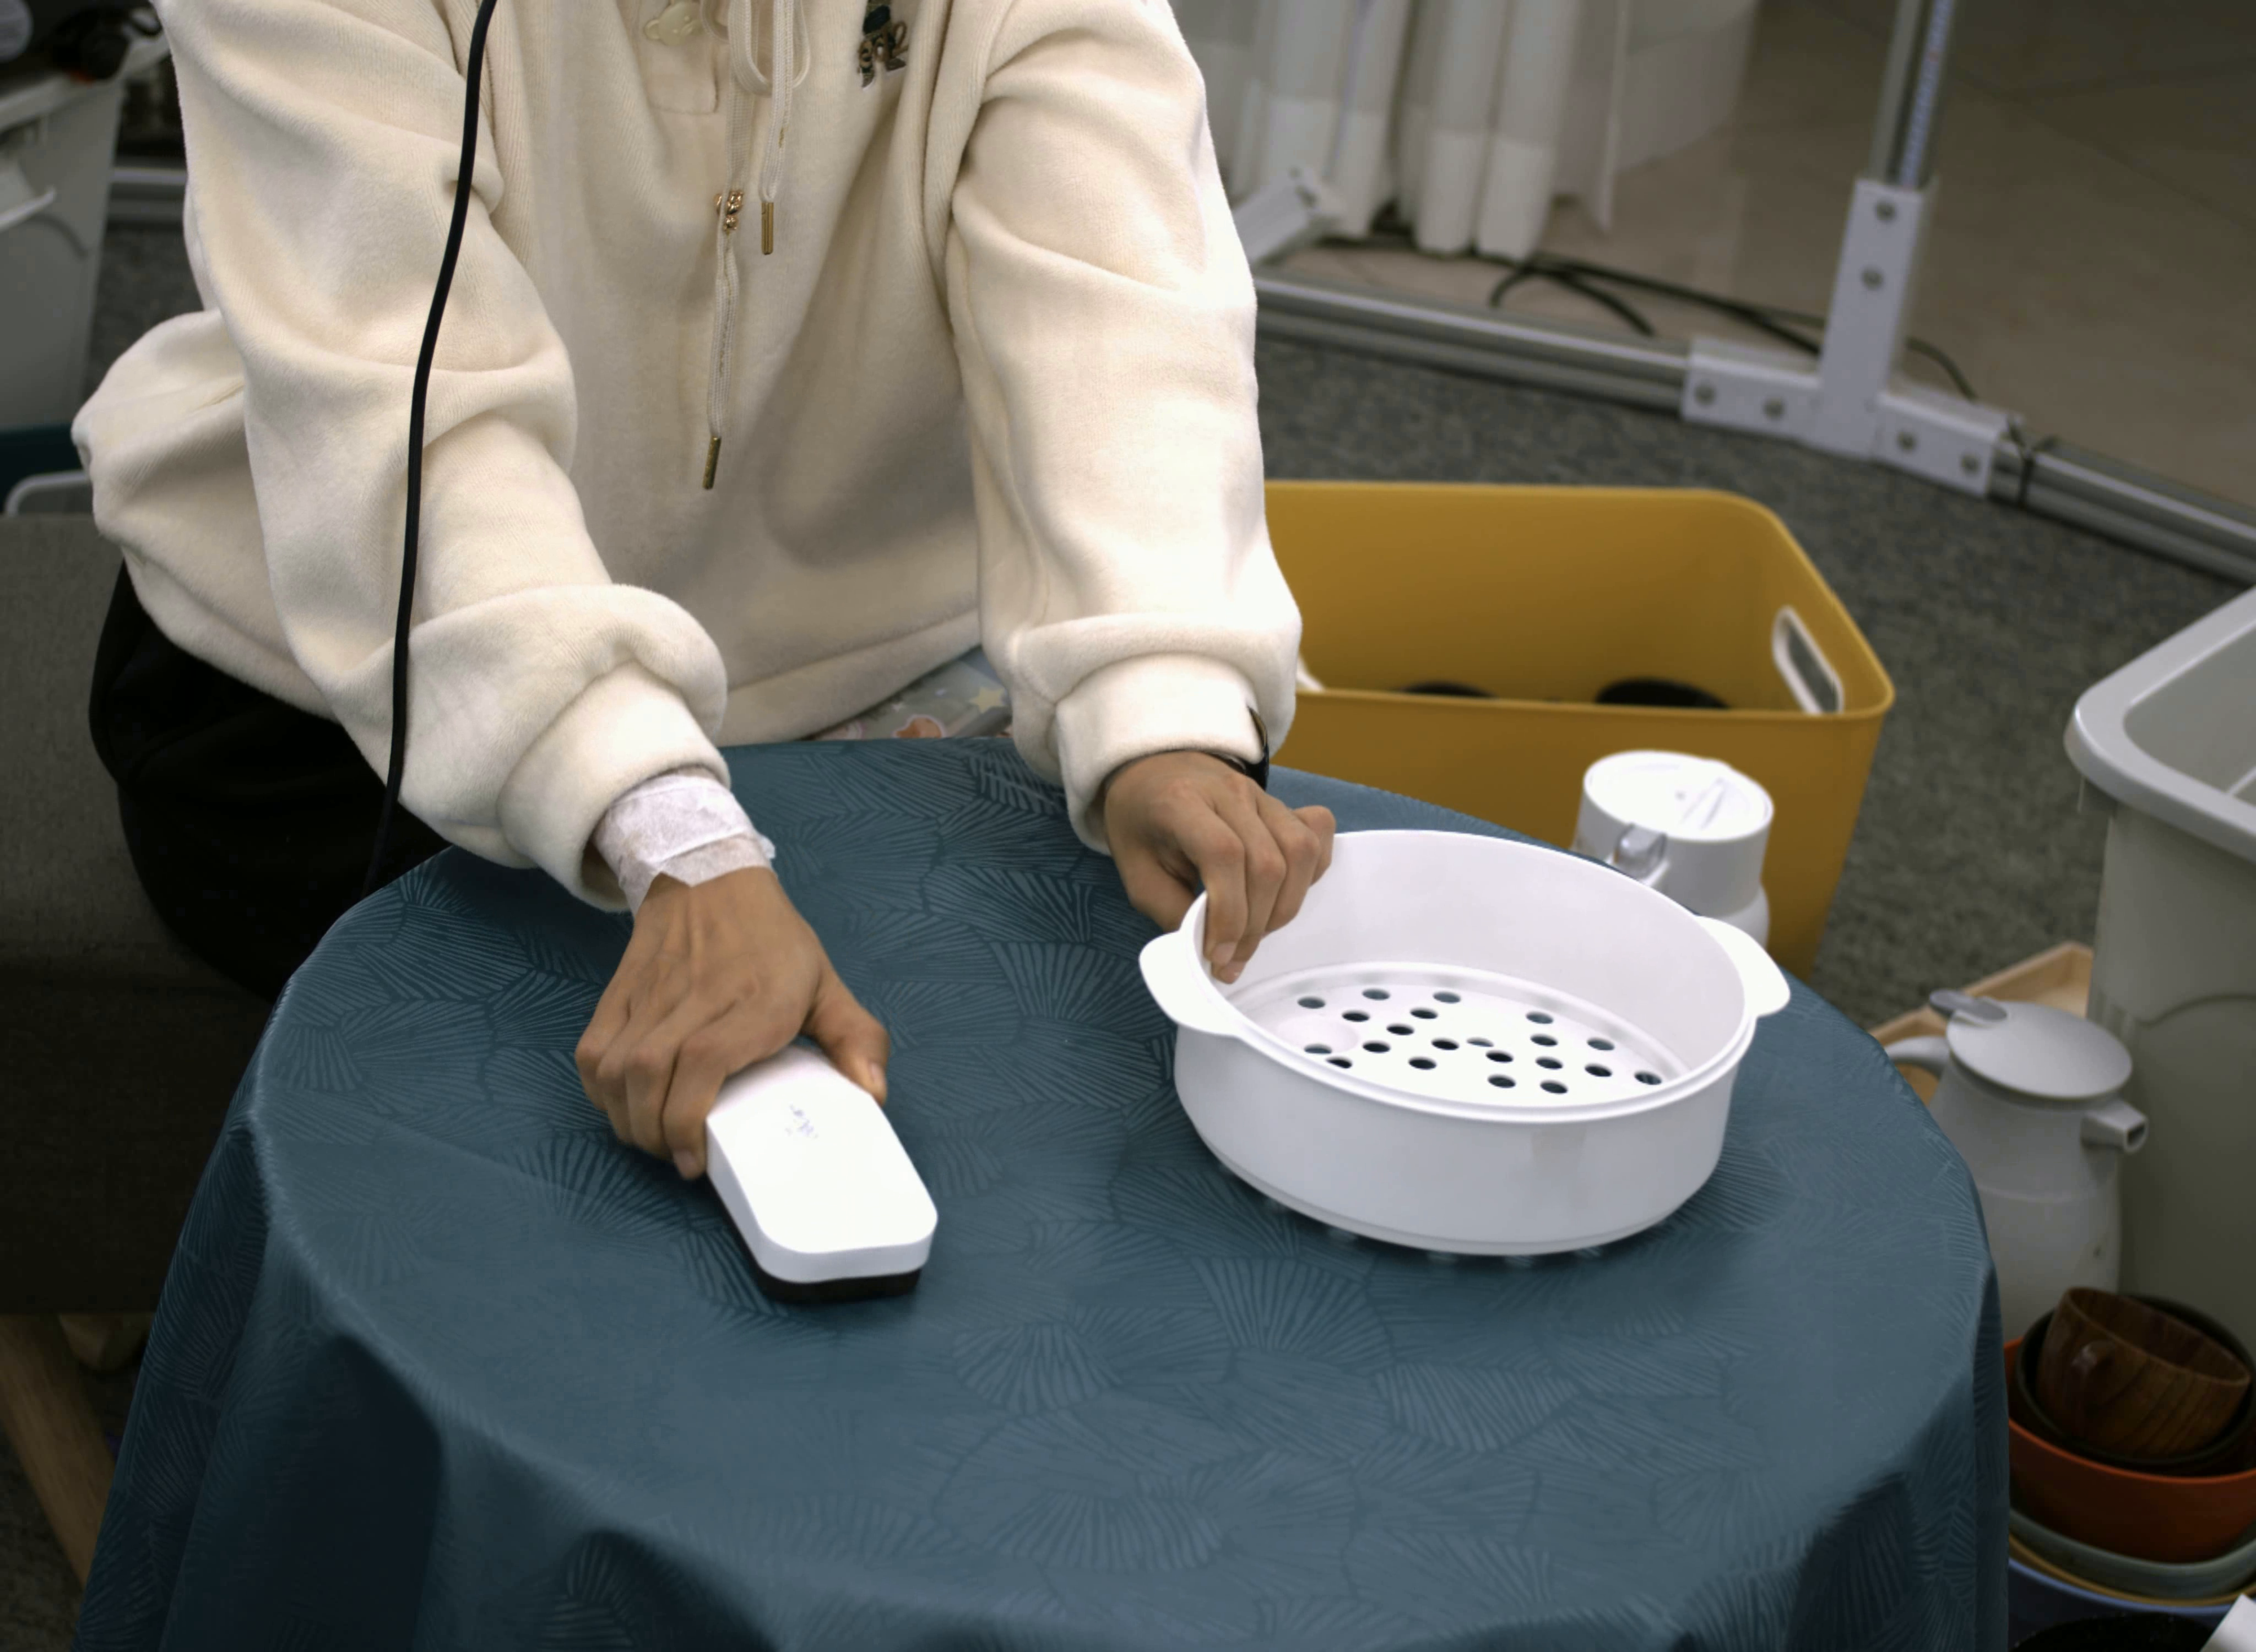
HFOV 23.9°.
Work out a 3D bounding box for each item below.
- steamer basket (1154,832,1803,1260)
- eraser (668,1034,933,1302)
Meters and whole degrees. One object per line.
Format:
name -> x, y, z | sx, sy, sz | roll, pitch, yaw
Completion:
steamer basket -> 0.119, 0.076, 1.848 | 0.229, 0.069, 0.203 | 0, 27, -17
eraser -> -0.109, 0.110, 1.766 | 0.063, 0.034, 0.132 | -3, 31, -20
